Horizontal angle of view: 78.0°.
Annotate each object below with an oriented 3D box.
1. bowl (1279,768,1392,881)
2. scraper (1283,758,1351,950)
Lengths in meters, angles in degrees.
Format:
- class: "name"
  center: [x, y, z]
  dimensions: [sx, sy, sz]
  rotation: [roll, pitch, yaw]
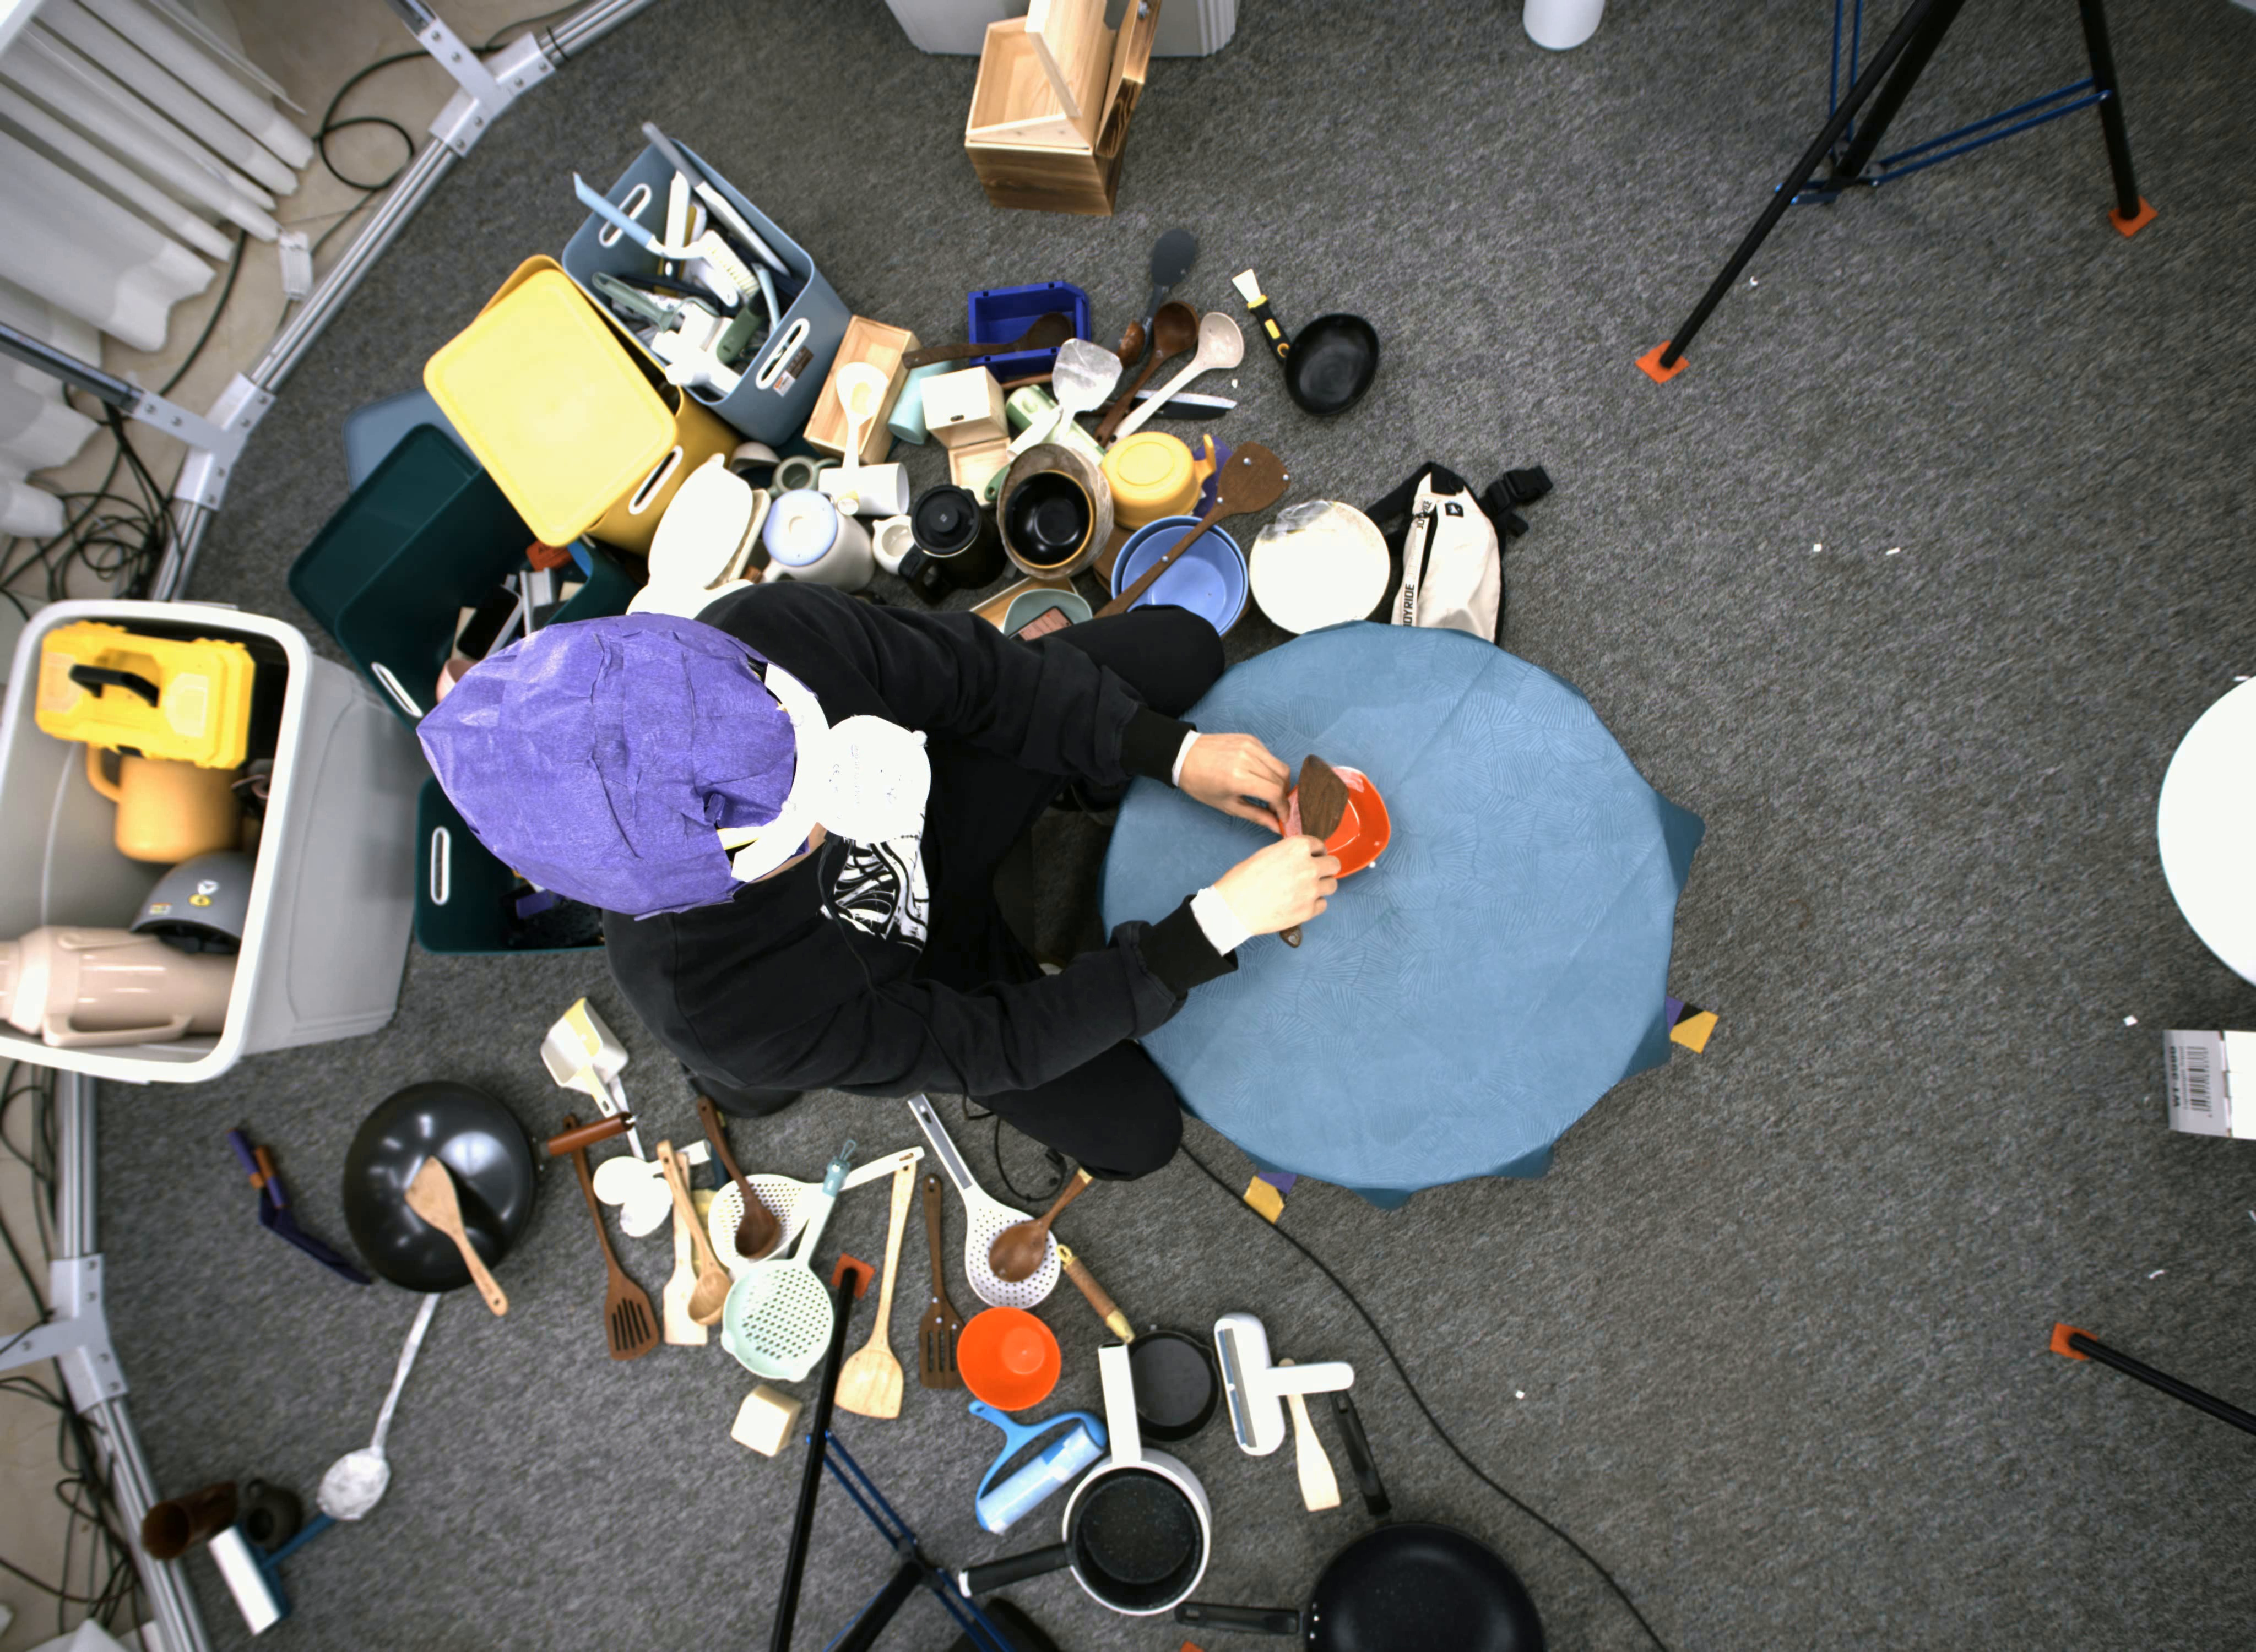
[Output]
- class: "bowl"
  center: [0.214, -0.004, 1.448]
  dimensions: [0.119, 0.051, 0.119]
  rotation: [0, 98, -3]
- class: "scraper"
  center: [0.179, 0.028, 1.355]
  dimensions: [0.011, 0.076, 0.206]
  rotation: [-15, 46, 41]
